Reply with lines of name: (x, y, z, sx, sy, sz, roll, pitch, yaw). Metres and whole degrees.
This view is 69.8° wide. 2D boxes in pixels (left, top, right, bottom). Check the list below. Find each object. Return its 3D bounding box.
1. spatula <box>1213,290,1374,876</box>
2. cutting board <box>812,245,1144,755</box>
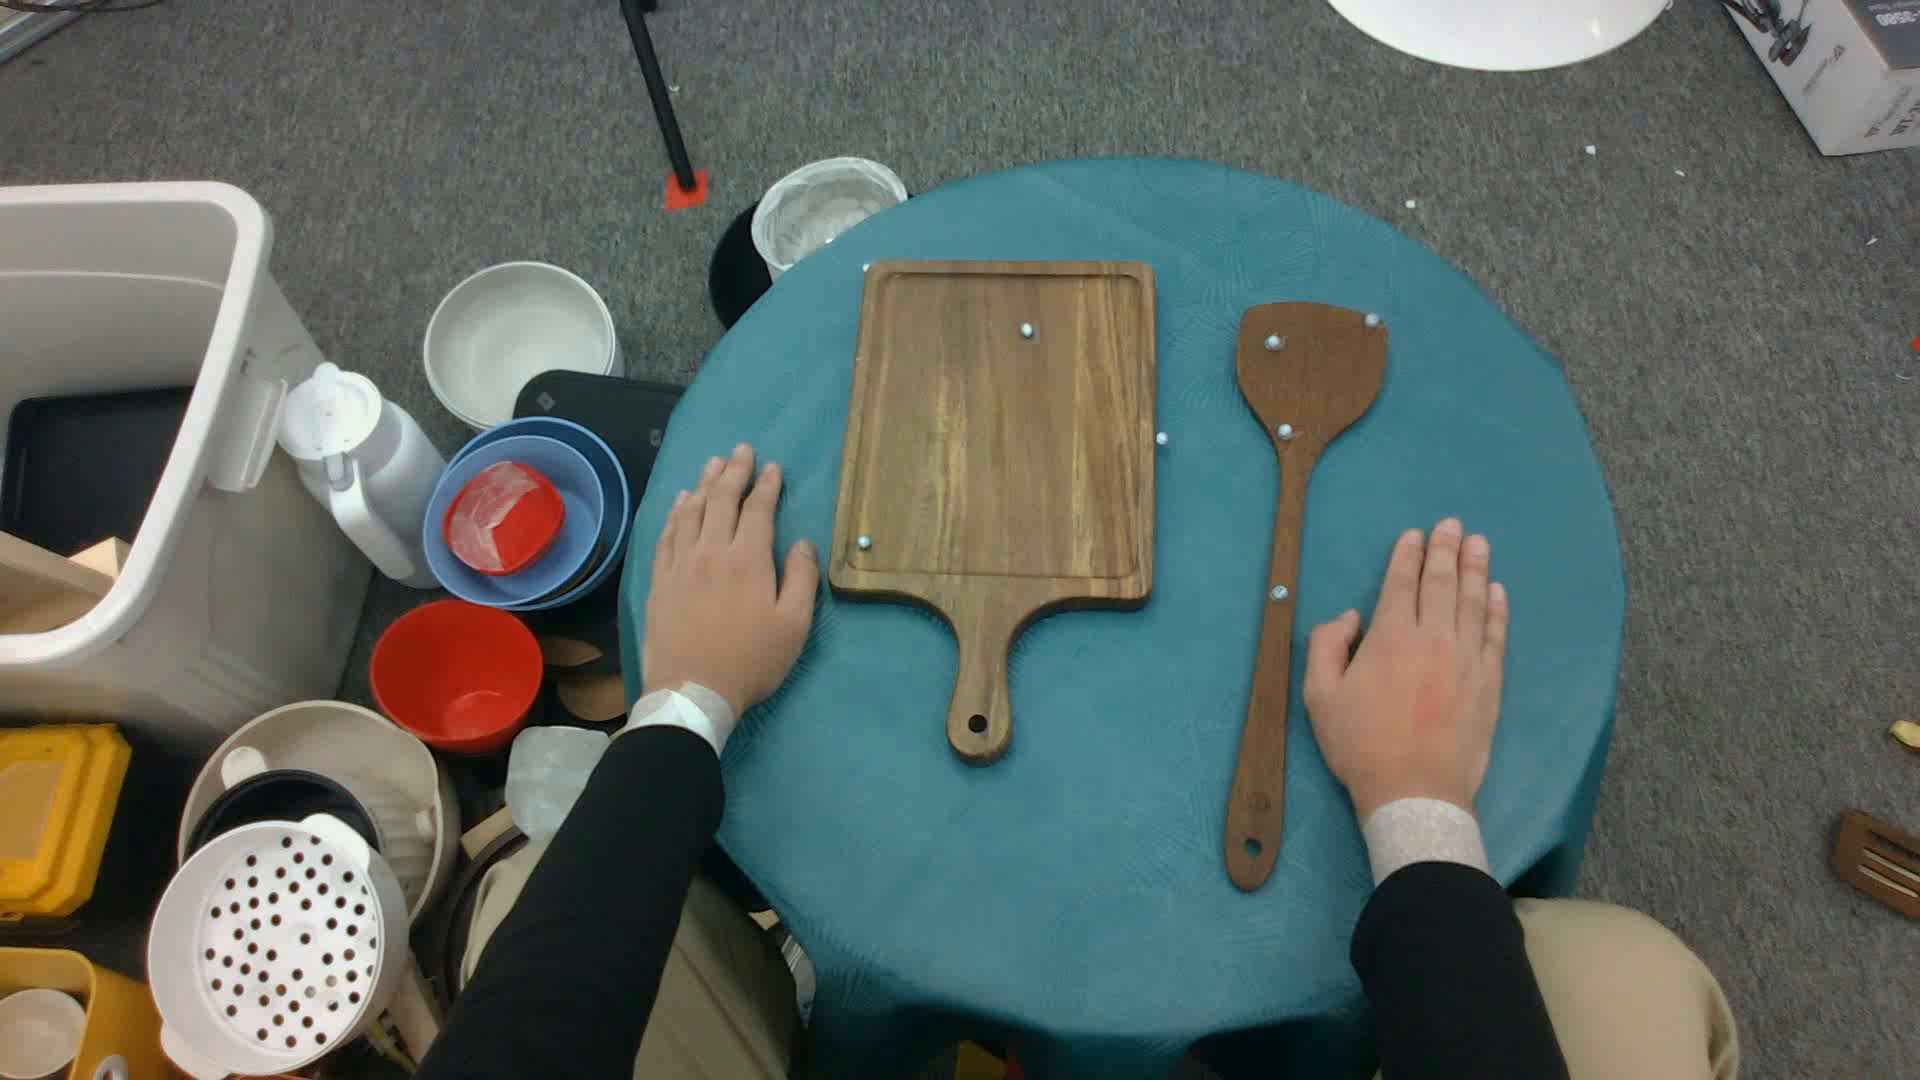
spatula: (0.186, 0.008, 0.819, 0.096, 0.016, 0.387, 8, 64, 9)
cutting board: (0.012, -0.039, 0.851, 0.201, 0.023, 0.353, 1, 63, 5)
